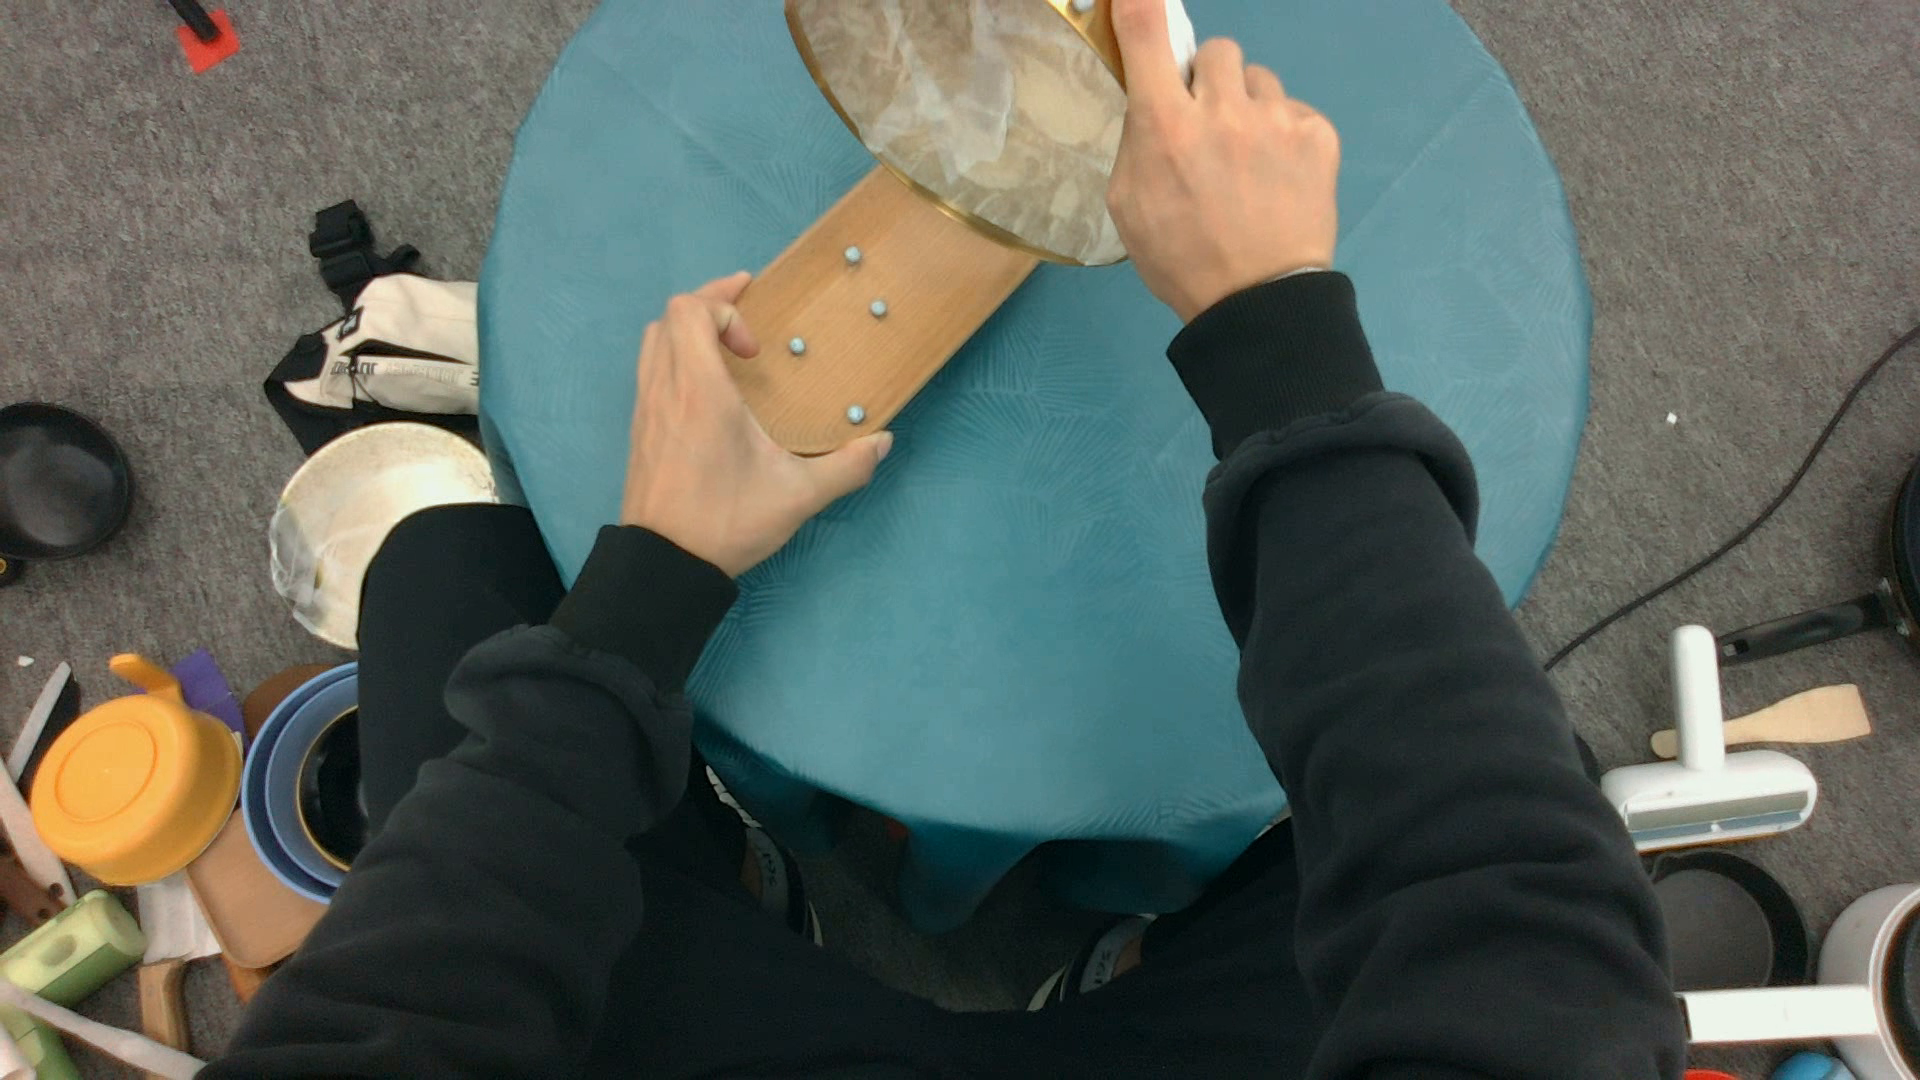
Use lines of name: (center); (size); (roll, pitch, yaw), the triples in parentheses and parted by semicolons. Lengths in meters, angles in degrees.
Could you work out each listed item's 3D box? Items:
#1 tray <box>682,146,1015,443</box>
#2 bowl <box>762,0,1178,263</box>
tray: (-0.049, -0.137, 0.710); (0.101, 0.020, 0.232); (36, 61, 5)
bowl: (0.019, -0.229, 0.627); (0.215, 0.214, 0.095); (31, 74, 5)
